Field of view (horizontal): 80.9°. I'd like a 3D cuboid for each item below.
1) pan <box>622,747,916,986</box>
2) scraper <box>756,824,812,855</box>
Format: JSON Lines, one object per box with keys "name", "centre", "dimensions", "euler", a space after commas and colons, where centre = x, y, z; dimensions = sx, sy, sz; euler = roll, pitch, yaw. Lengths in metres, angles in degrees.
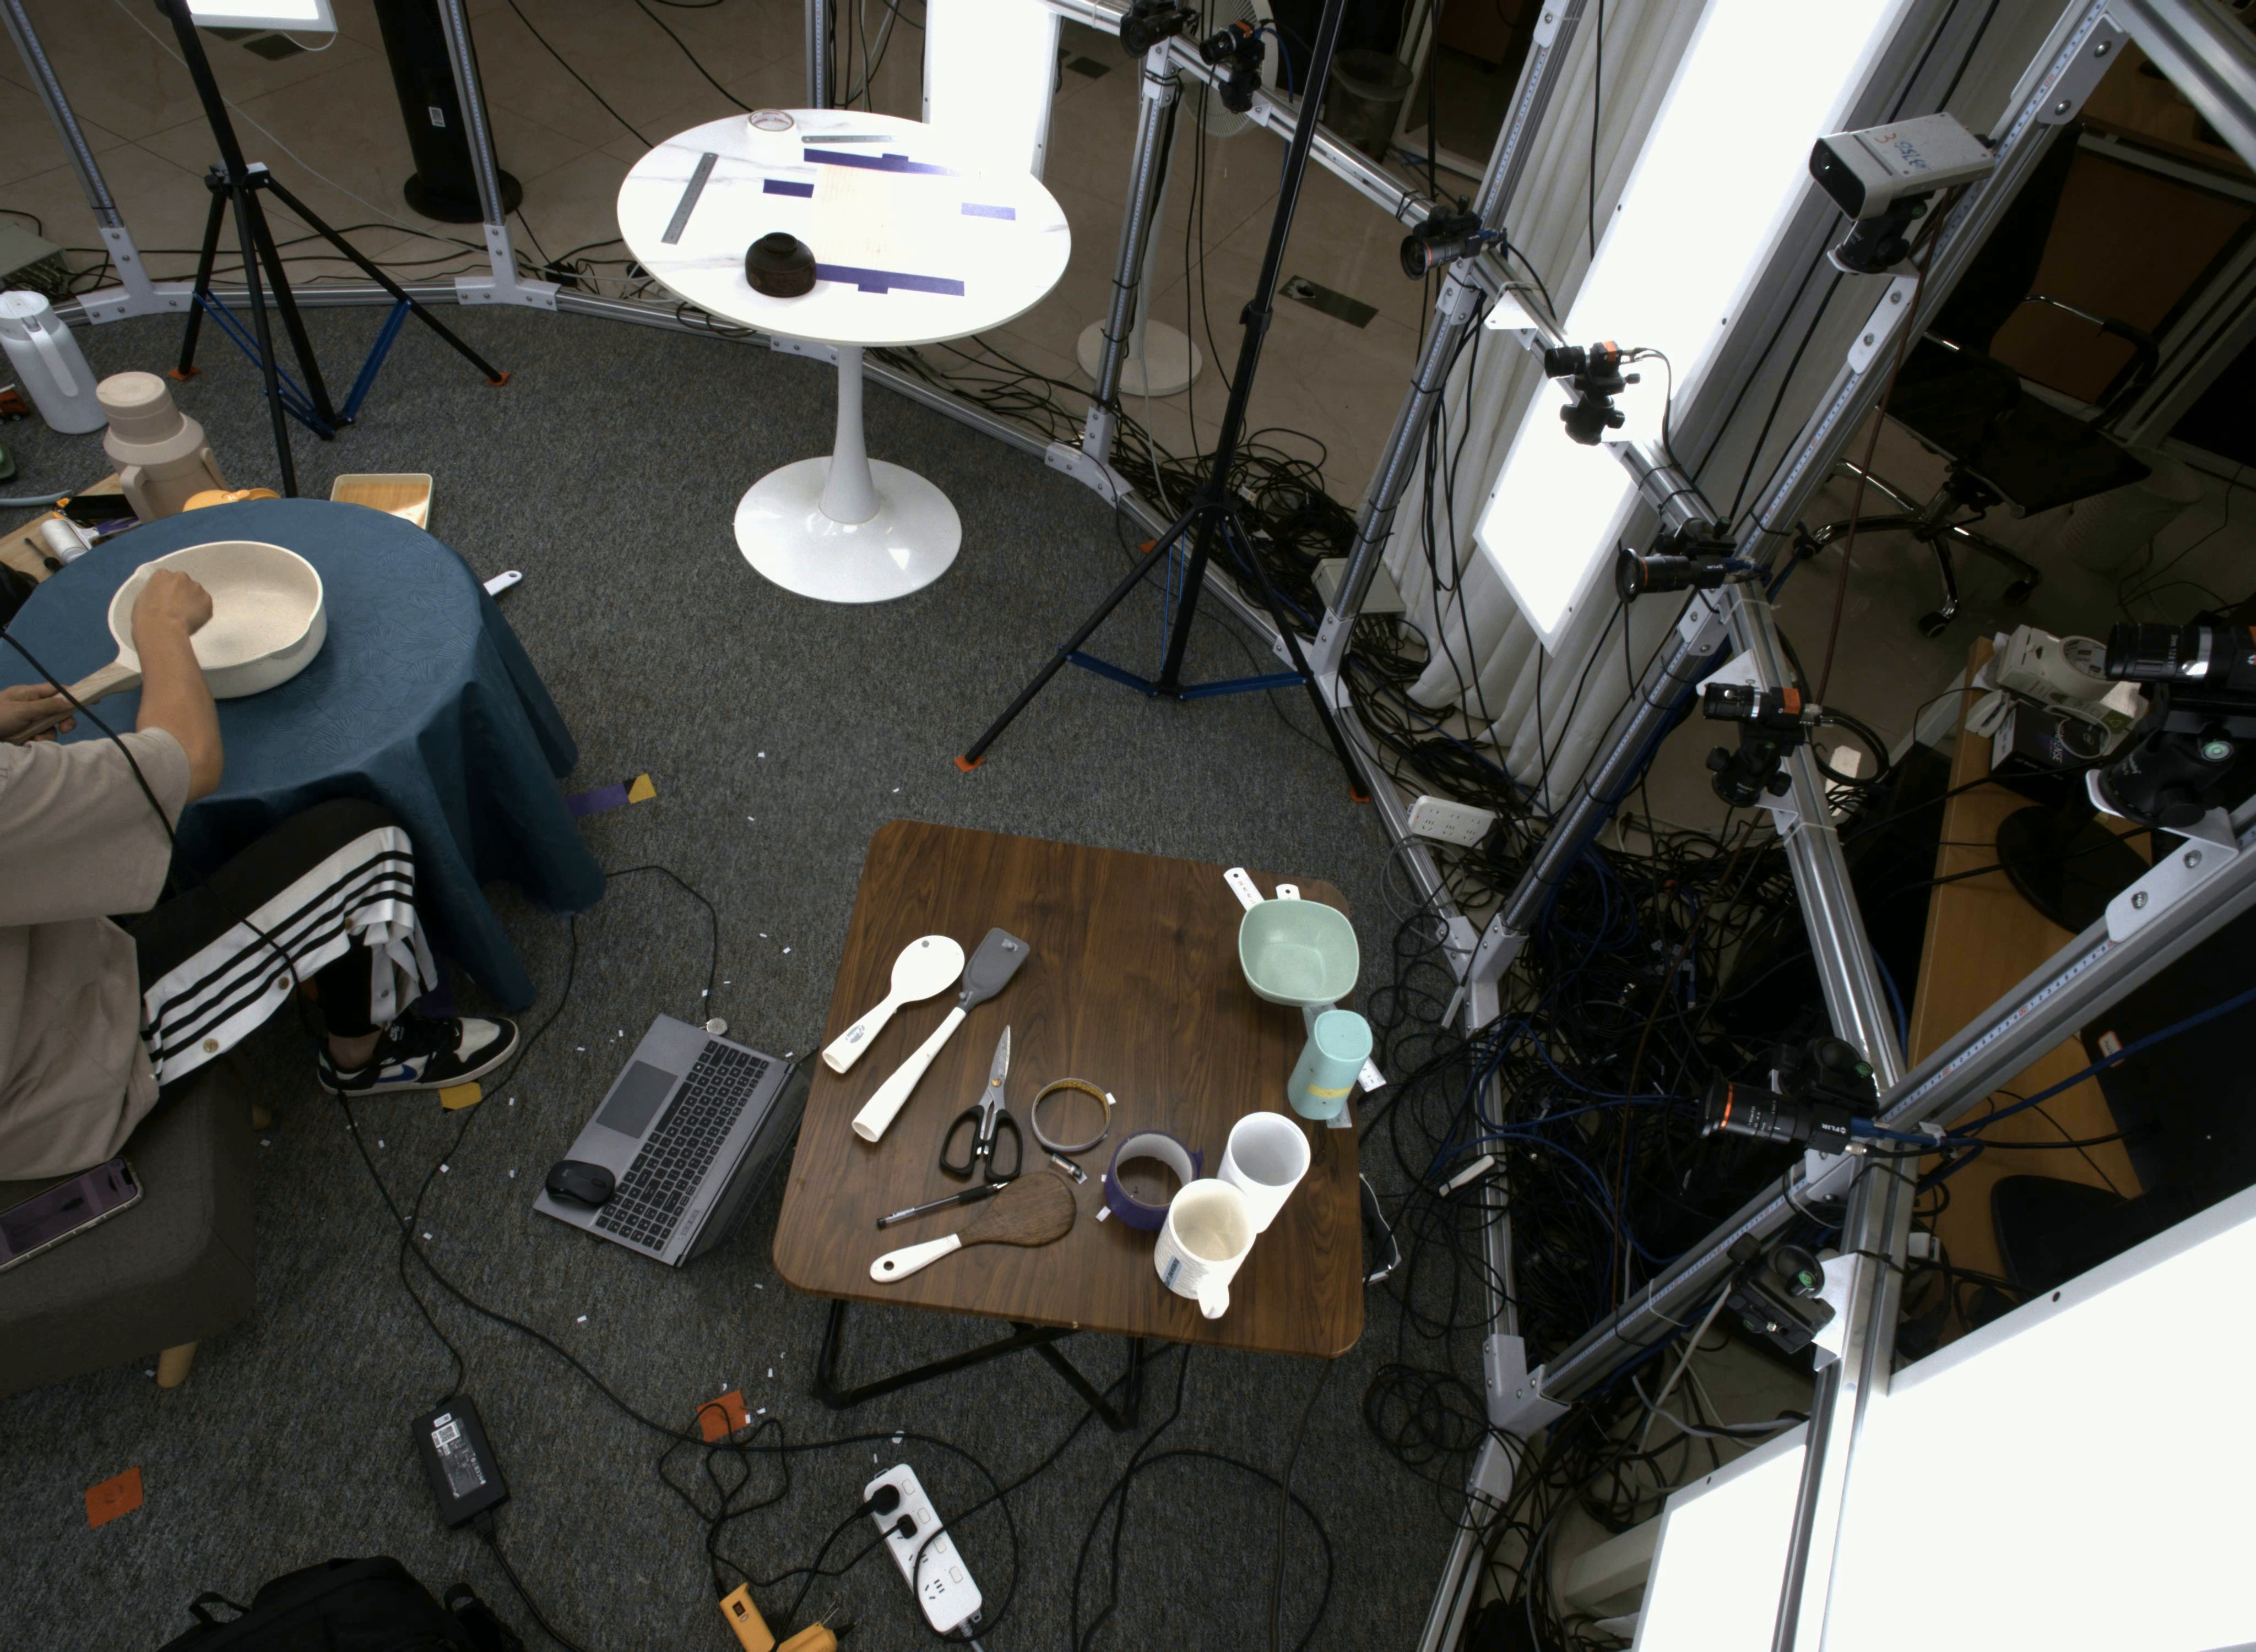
{"name": "pan", "centre": [-0.454, 0.070, 1.616], "dimensions": [0.259, 0.104, 0.435], "euler": [38, 55, 12]}
{"name": "scraper", "centre": [-0.414, 0.014, 1.567], "dimensions": [0.039, 0.015, 0.165], "euler": [1, 9, -28]}
